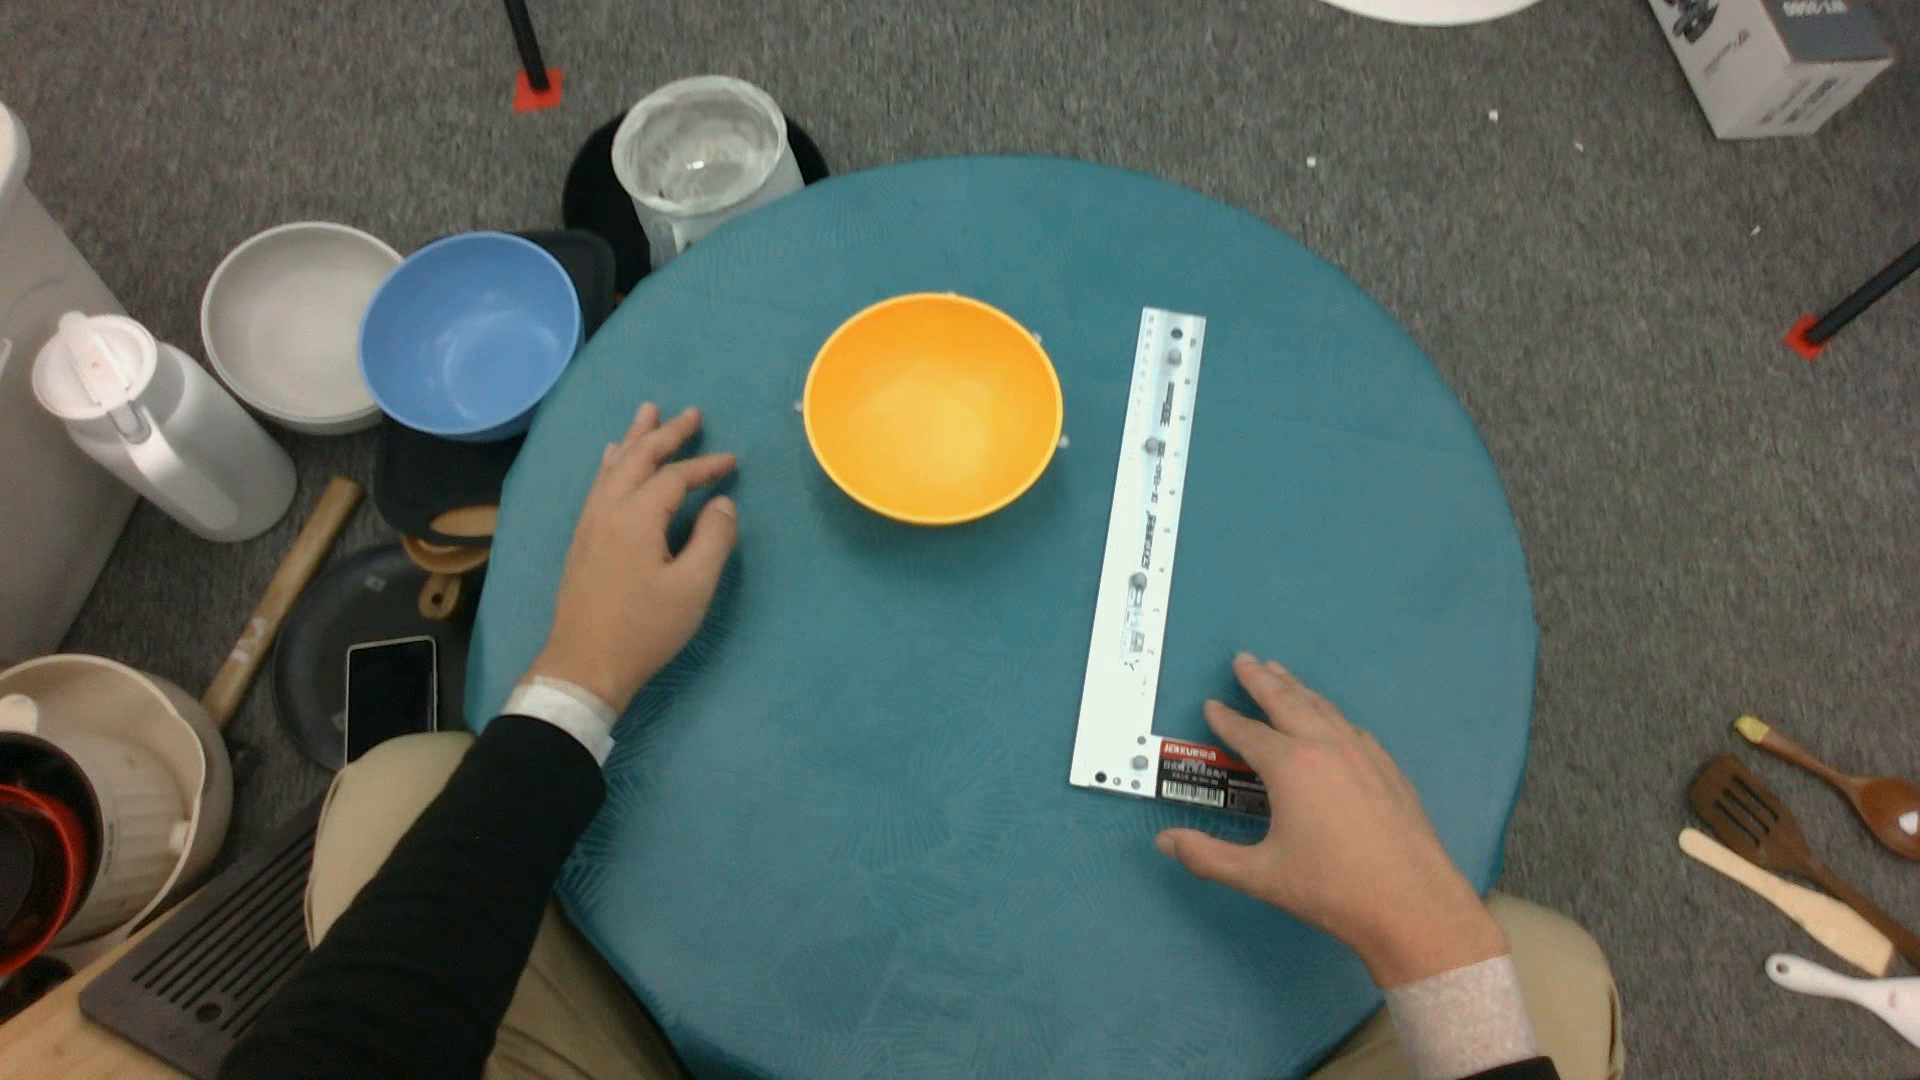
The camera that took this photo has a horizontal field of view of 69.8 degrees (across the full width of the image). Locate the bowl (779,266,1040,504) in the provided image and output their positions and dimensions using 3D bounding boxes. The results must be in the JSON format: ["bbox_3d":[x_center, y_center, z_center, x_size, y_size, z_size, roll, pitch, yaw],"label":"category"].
[{"bbox_3d":[-0.028,-0.080,0.788,0.145,0.060,0.146,0,71,-1],"label":"bowl"}]

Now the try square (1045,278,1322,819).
[{"bbox_3d":[0.144,-0.005,0.800,0.152,0.016,0.314,12,68,-3],"label":"try square"}]
